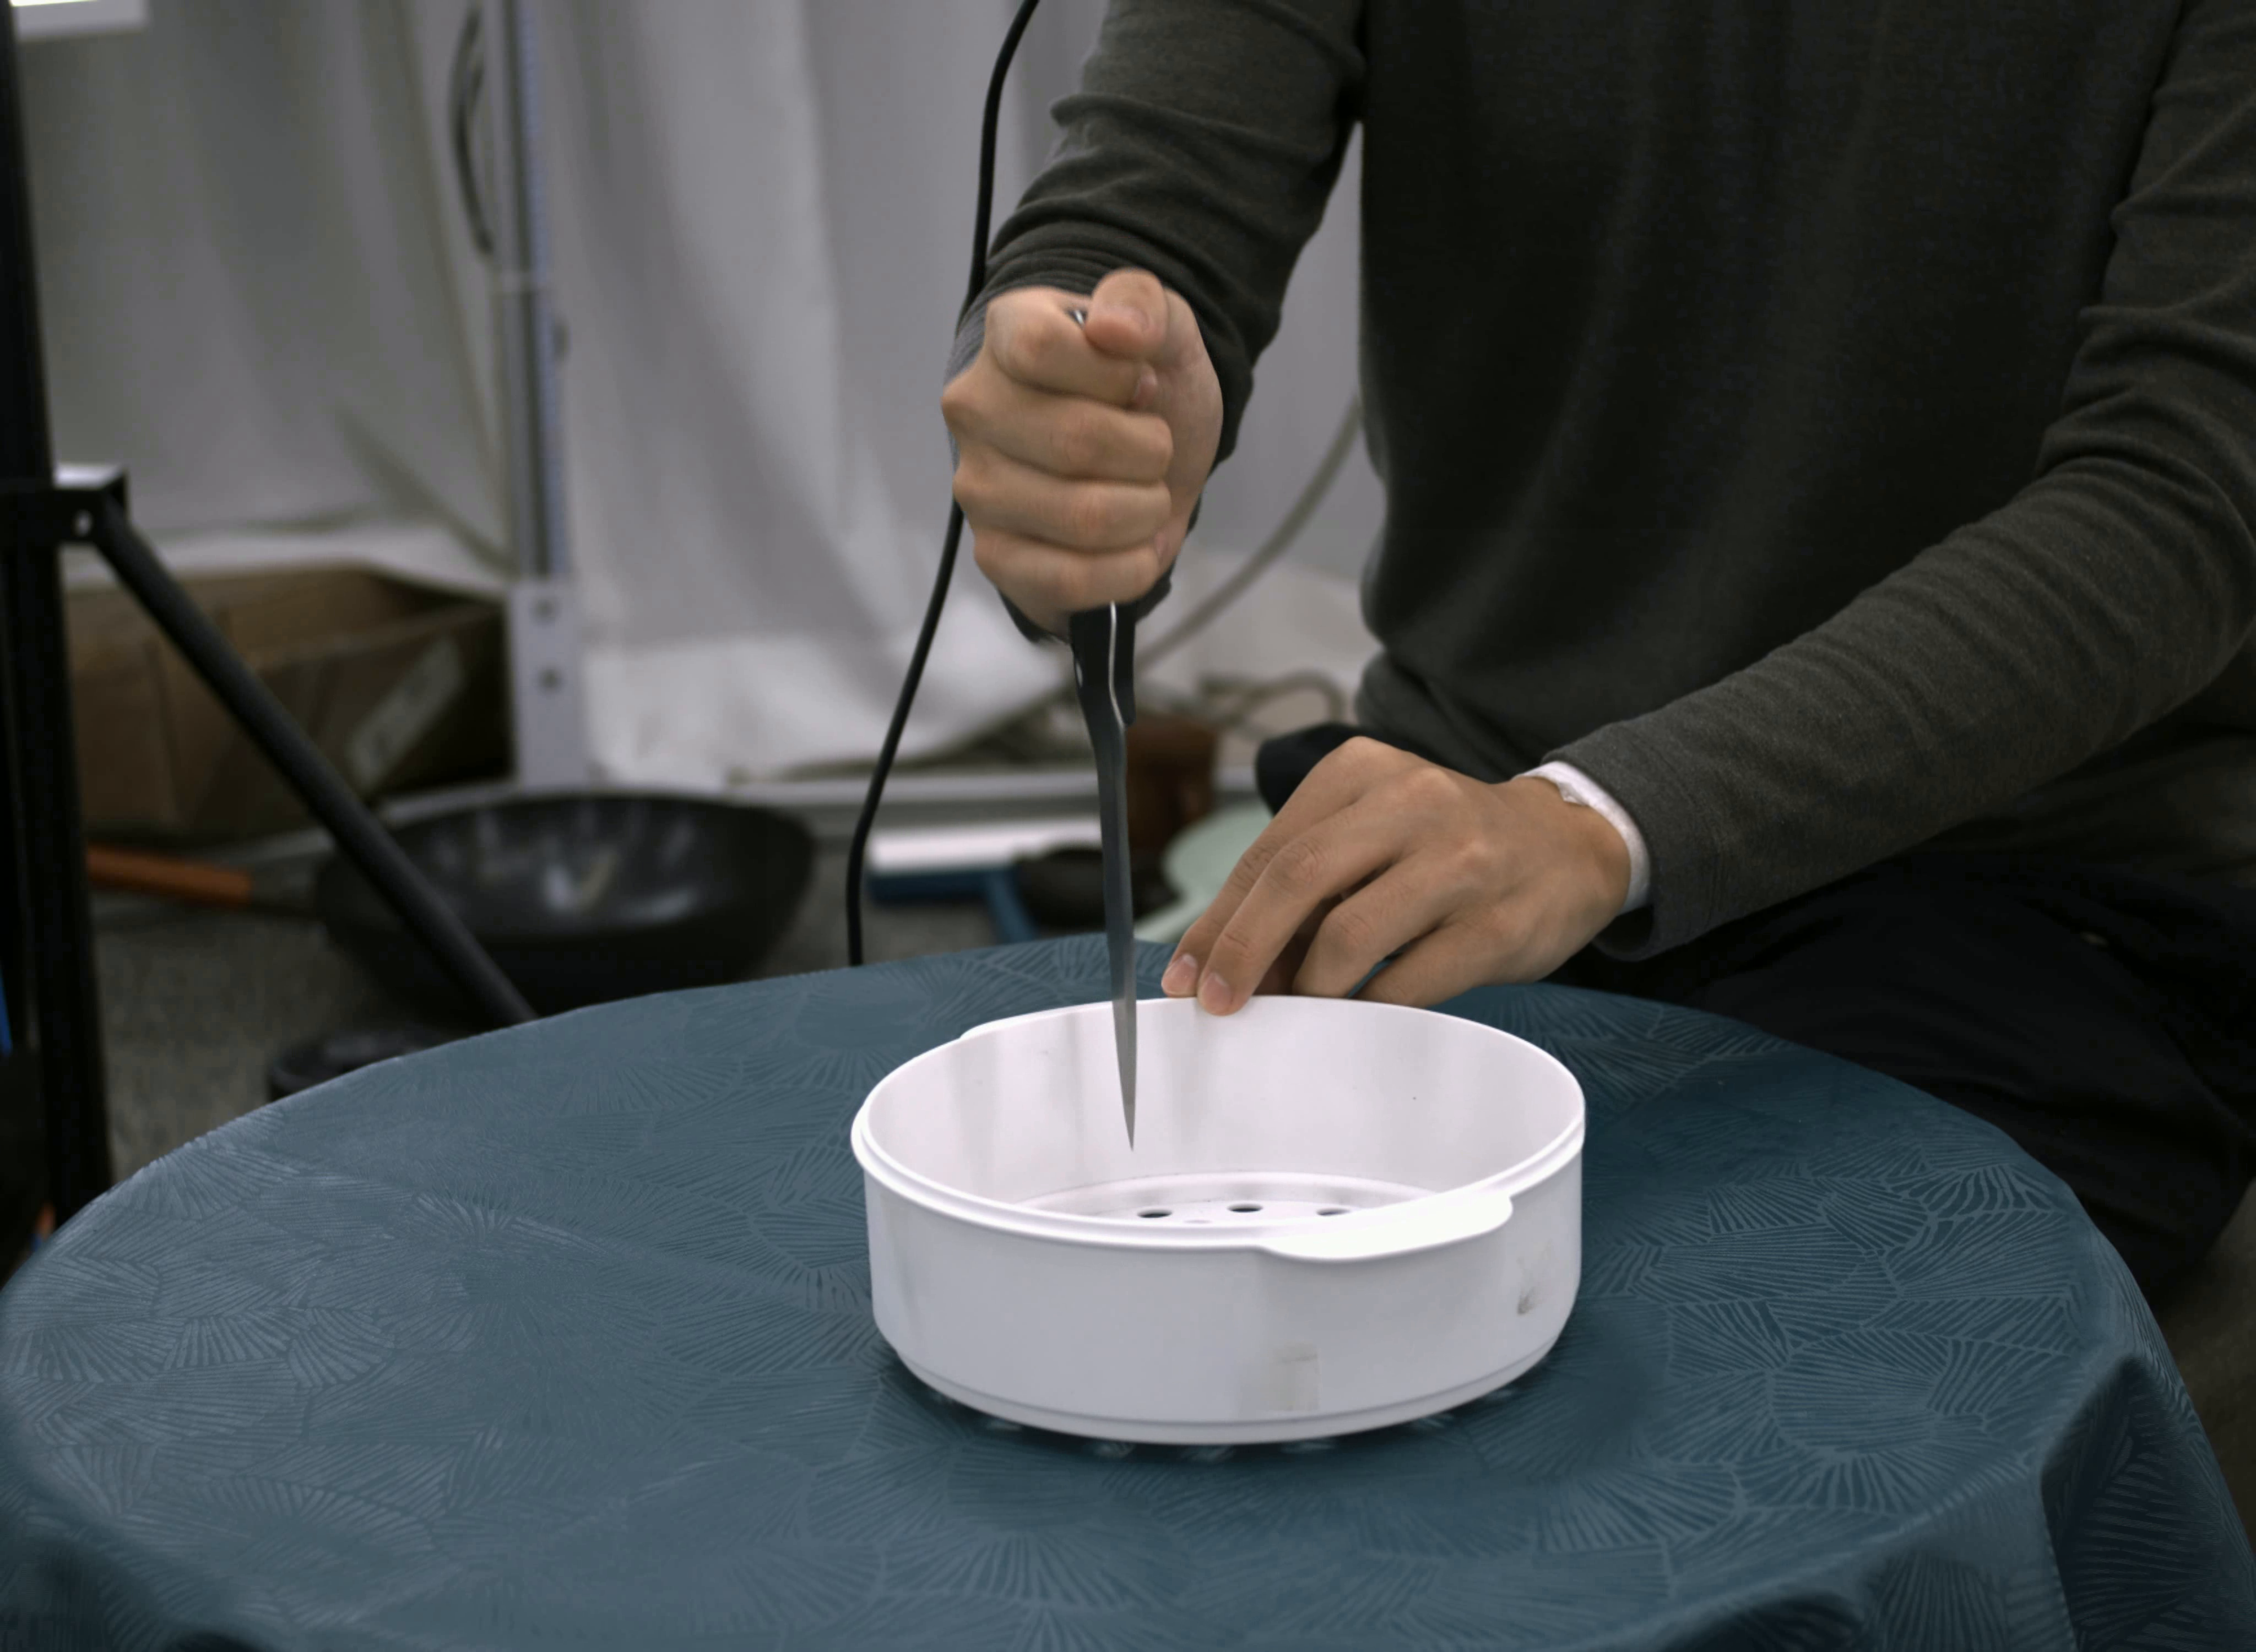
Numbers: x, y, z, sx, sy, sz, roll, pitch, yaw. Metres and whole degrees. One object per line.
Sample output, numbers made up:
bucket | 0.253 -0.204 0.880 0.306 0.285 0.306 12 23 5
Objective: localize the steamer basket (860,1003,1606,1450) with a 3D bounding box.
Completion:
steamer basket | 0.029 0.107 1.434 0.198 0.069 0.235 -8 16 -22

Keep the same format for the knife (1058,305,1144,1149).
knife | -0.005 -0.025 1.464 0.016 0.238 0.025 -7 14 -13
